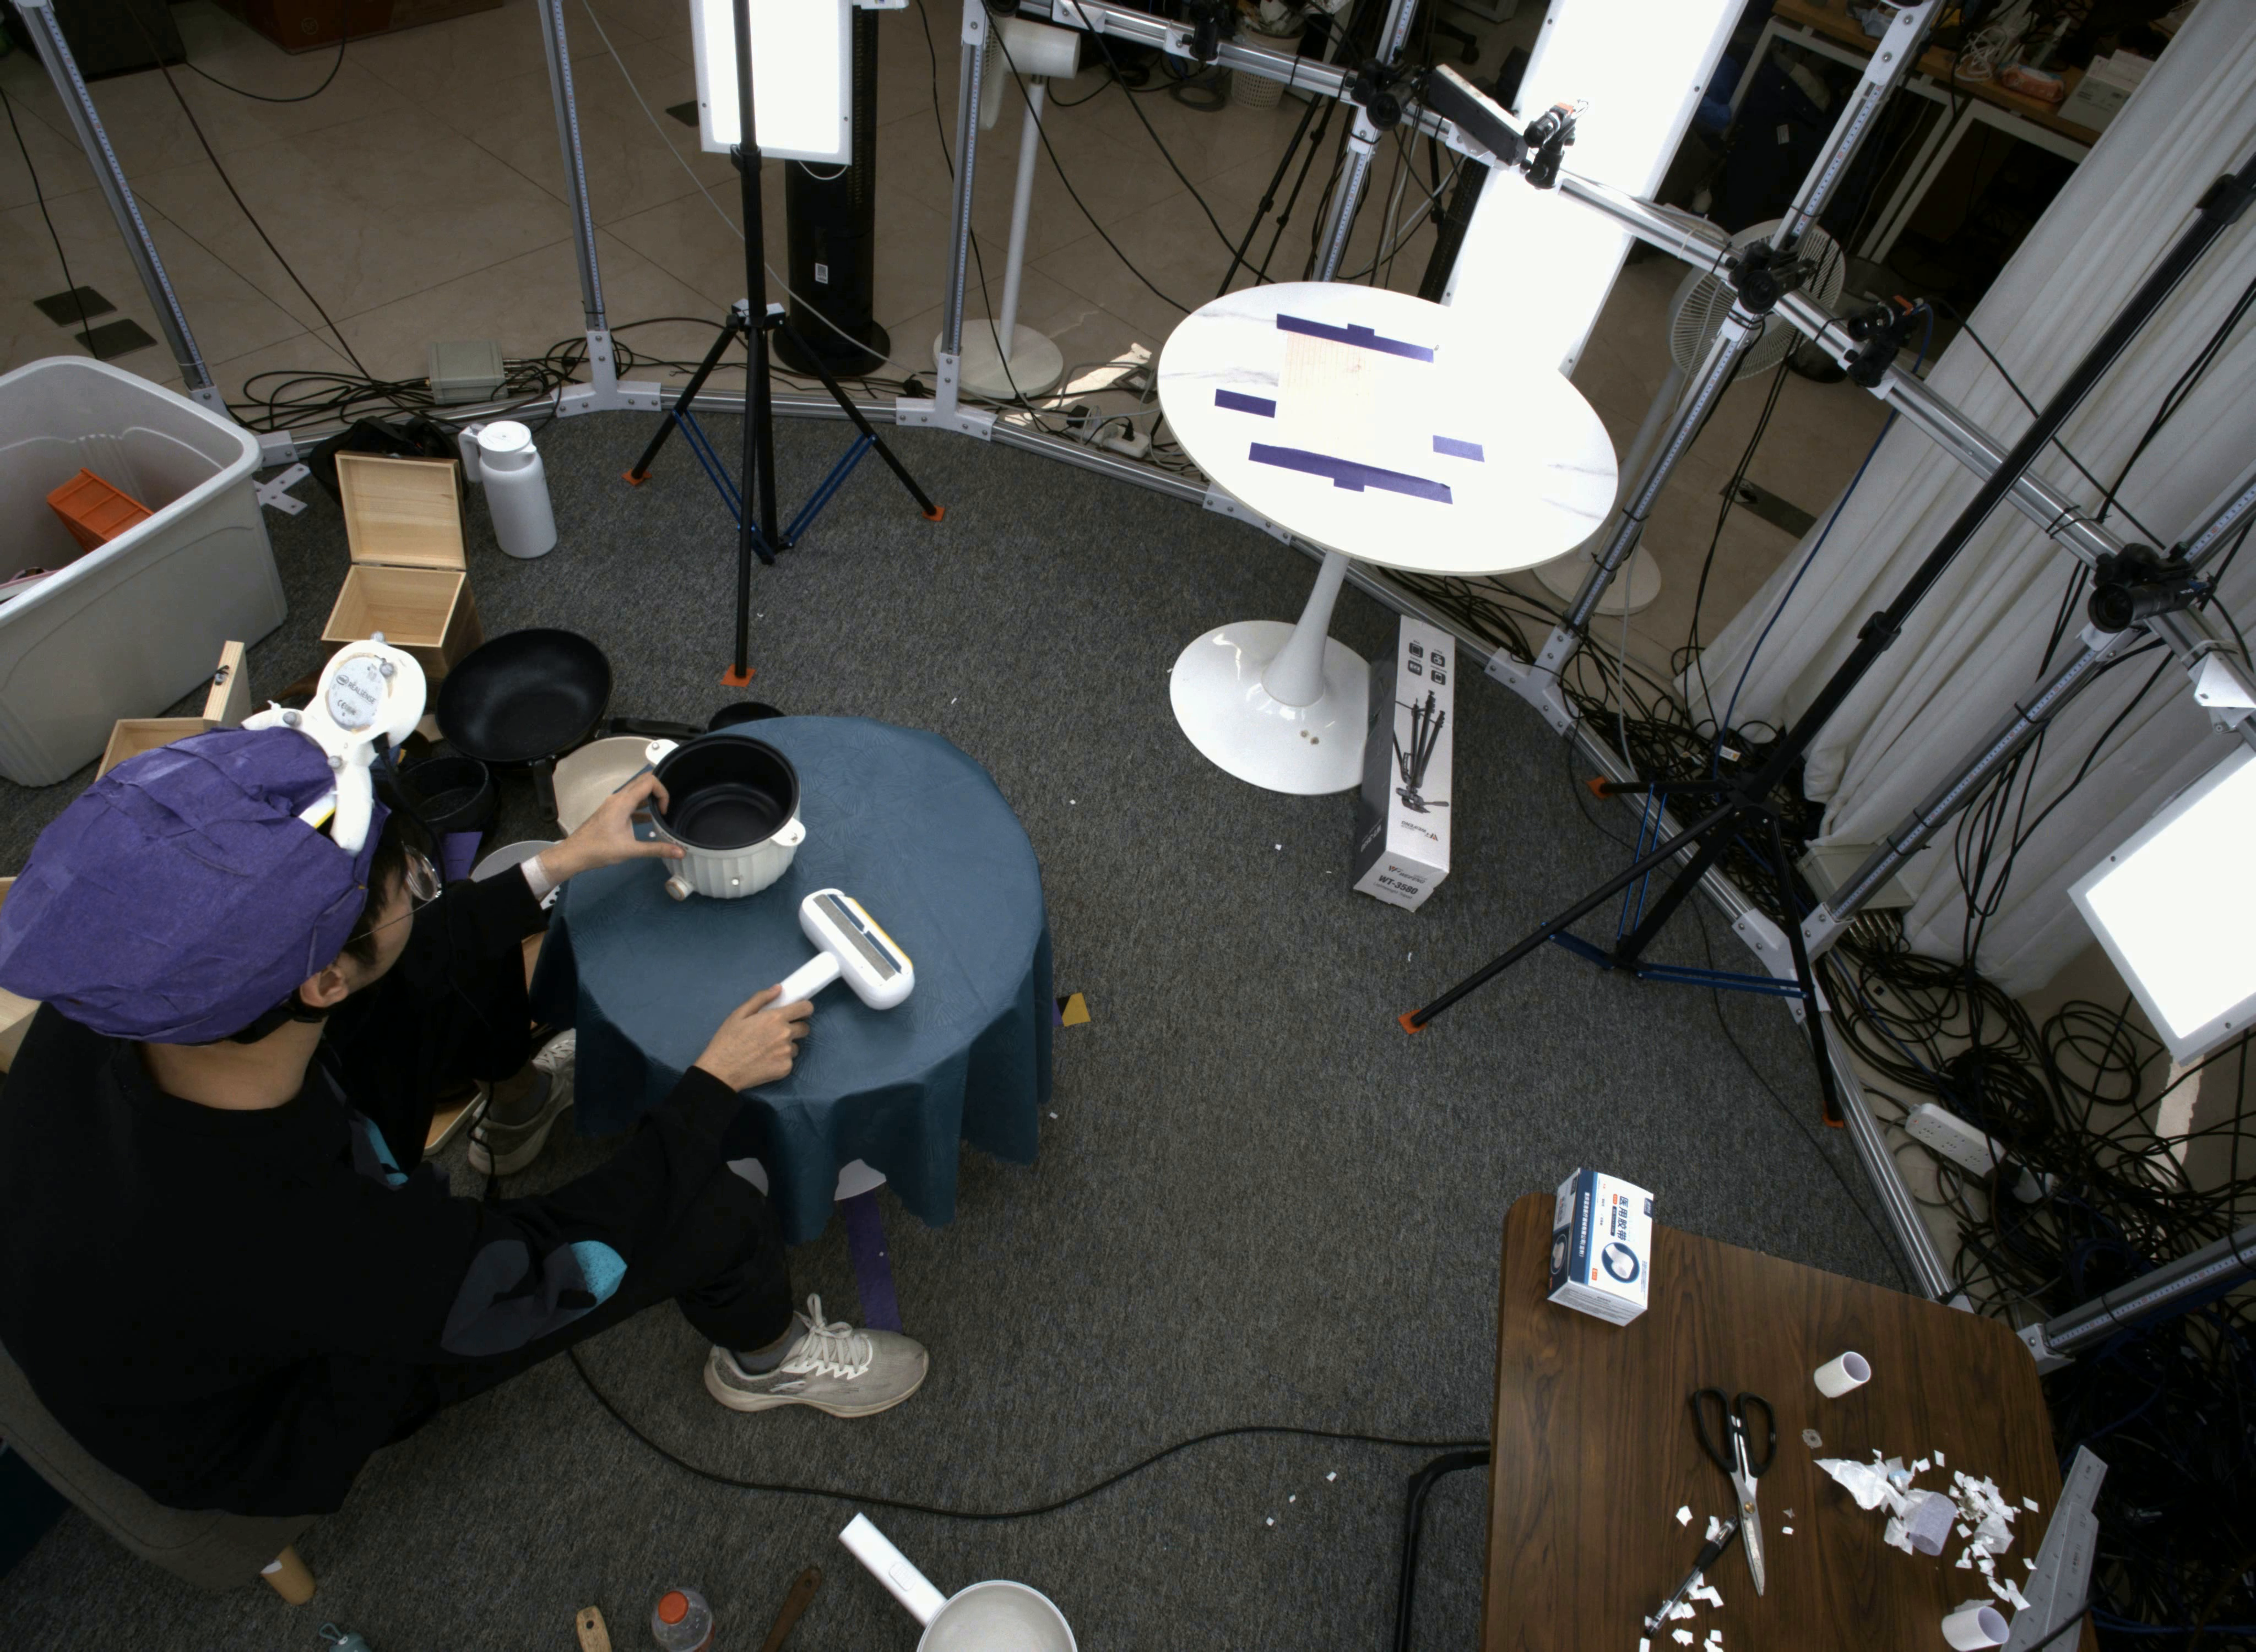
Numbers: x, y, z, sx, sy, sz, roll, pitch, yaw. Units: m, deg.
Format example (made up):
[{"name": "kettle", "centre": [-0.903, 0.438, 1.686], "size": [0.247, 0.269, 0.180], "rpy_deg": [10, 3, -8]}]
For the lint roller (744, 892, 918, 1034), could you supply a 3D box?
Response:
[{"name": "lint roller", "centre": [-0.375, 0.180, 1.566], "size": [0.193, 0.076, 0.187], "rpy_deg": [-27, 59, -28]}]

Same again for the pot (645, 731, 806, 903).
[{"name": "pot", "centre": [-0.506, -0.003, 1.620], "size": [0.236, 0.146, 0.190], "rpy_deg": [29, 50, 10]}]
